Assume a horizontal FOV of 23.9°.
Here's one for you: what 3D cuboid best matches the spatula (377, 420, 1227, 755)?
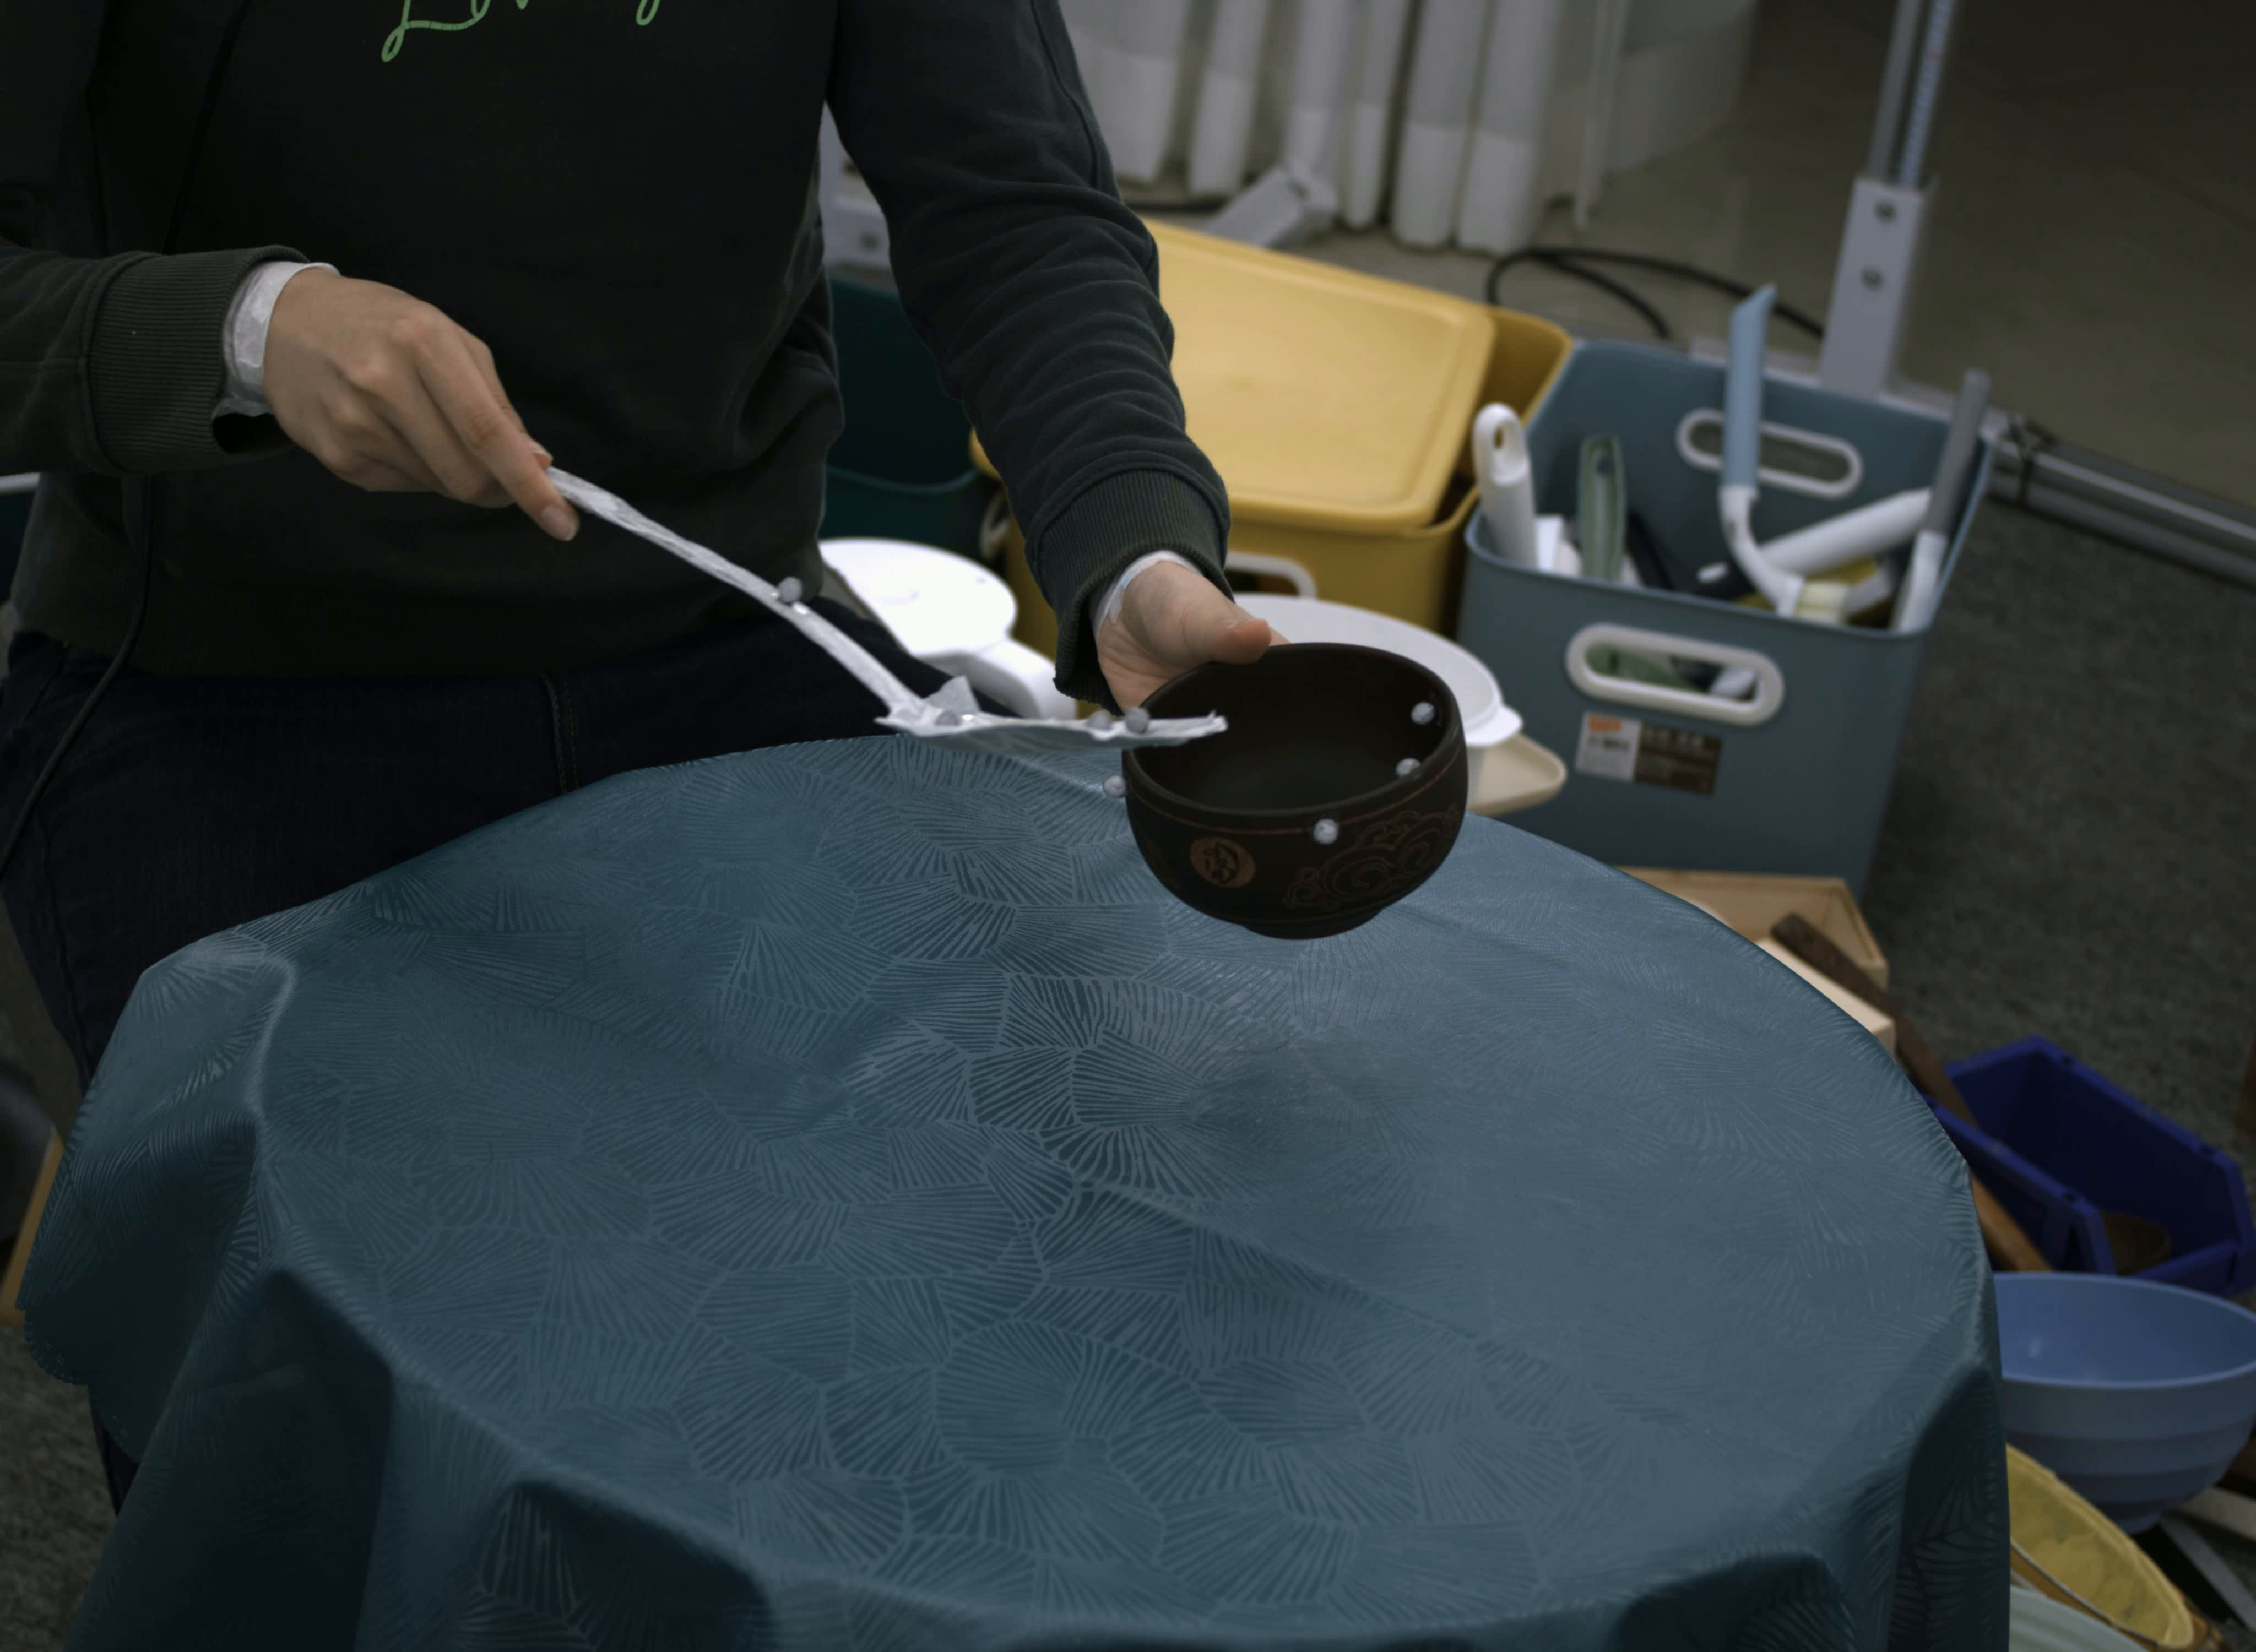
[{"bbox_3d":[-0.128,-0.086,1.769,0.367,0.045,0.098,29,19,32],"label":"spatula"}]

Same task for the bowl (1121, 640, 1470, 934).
[{"bbox_3d":[0.058,-0.007,1.810,0.118,0.069,0.119,-5,29,2],"label":"bowl"}]
